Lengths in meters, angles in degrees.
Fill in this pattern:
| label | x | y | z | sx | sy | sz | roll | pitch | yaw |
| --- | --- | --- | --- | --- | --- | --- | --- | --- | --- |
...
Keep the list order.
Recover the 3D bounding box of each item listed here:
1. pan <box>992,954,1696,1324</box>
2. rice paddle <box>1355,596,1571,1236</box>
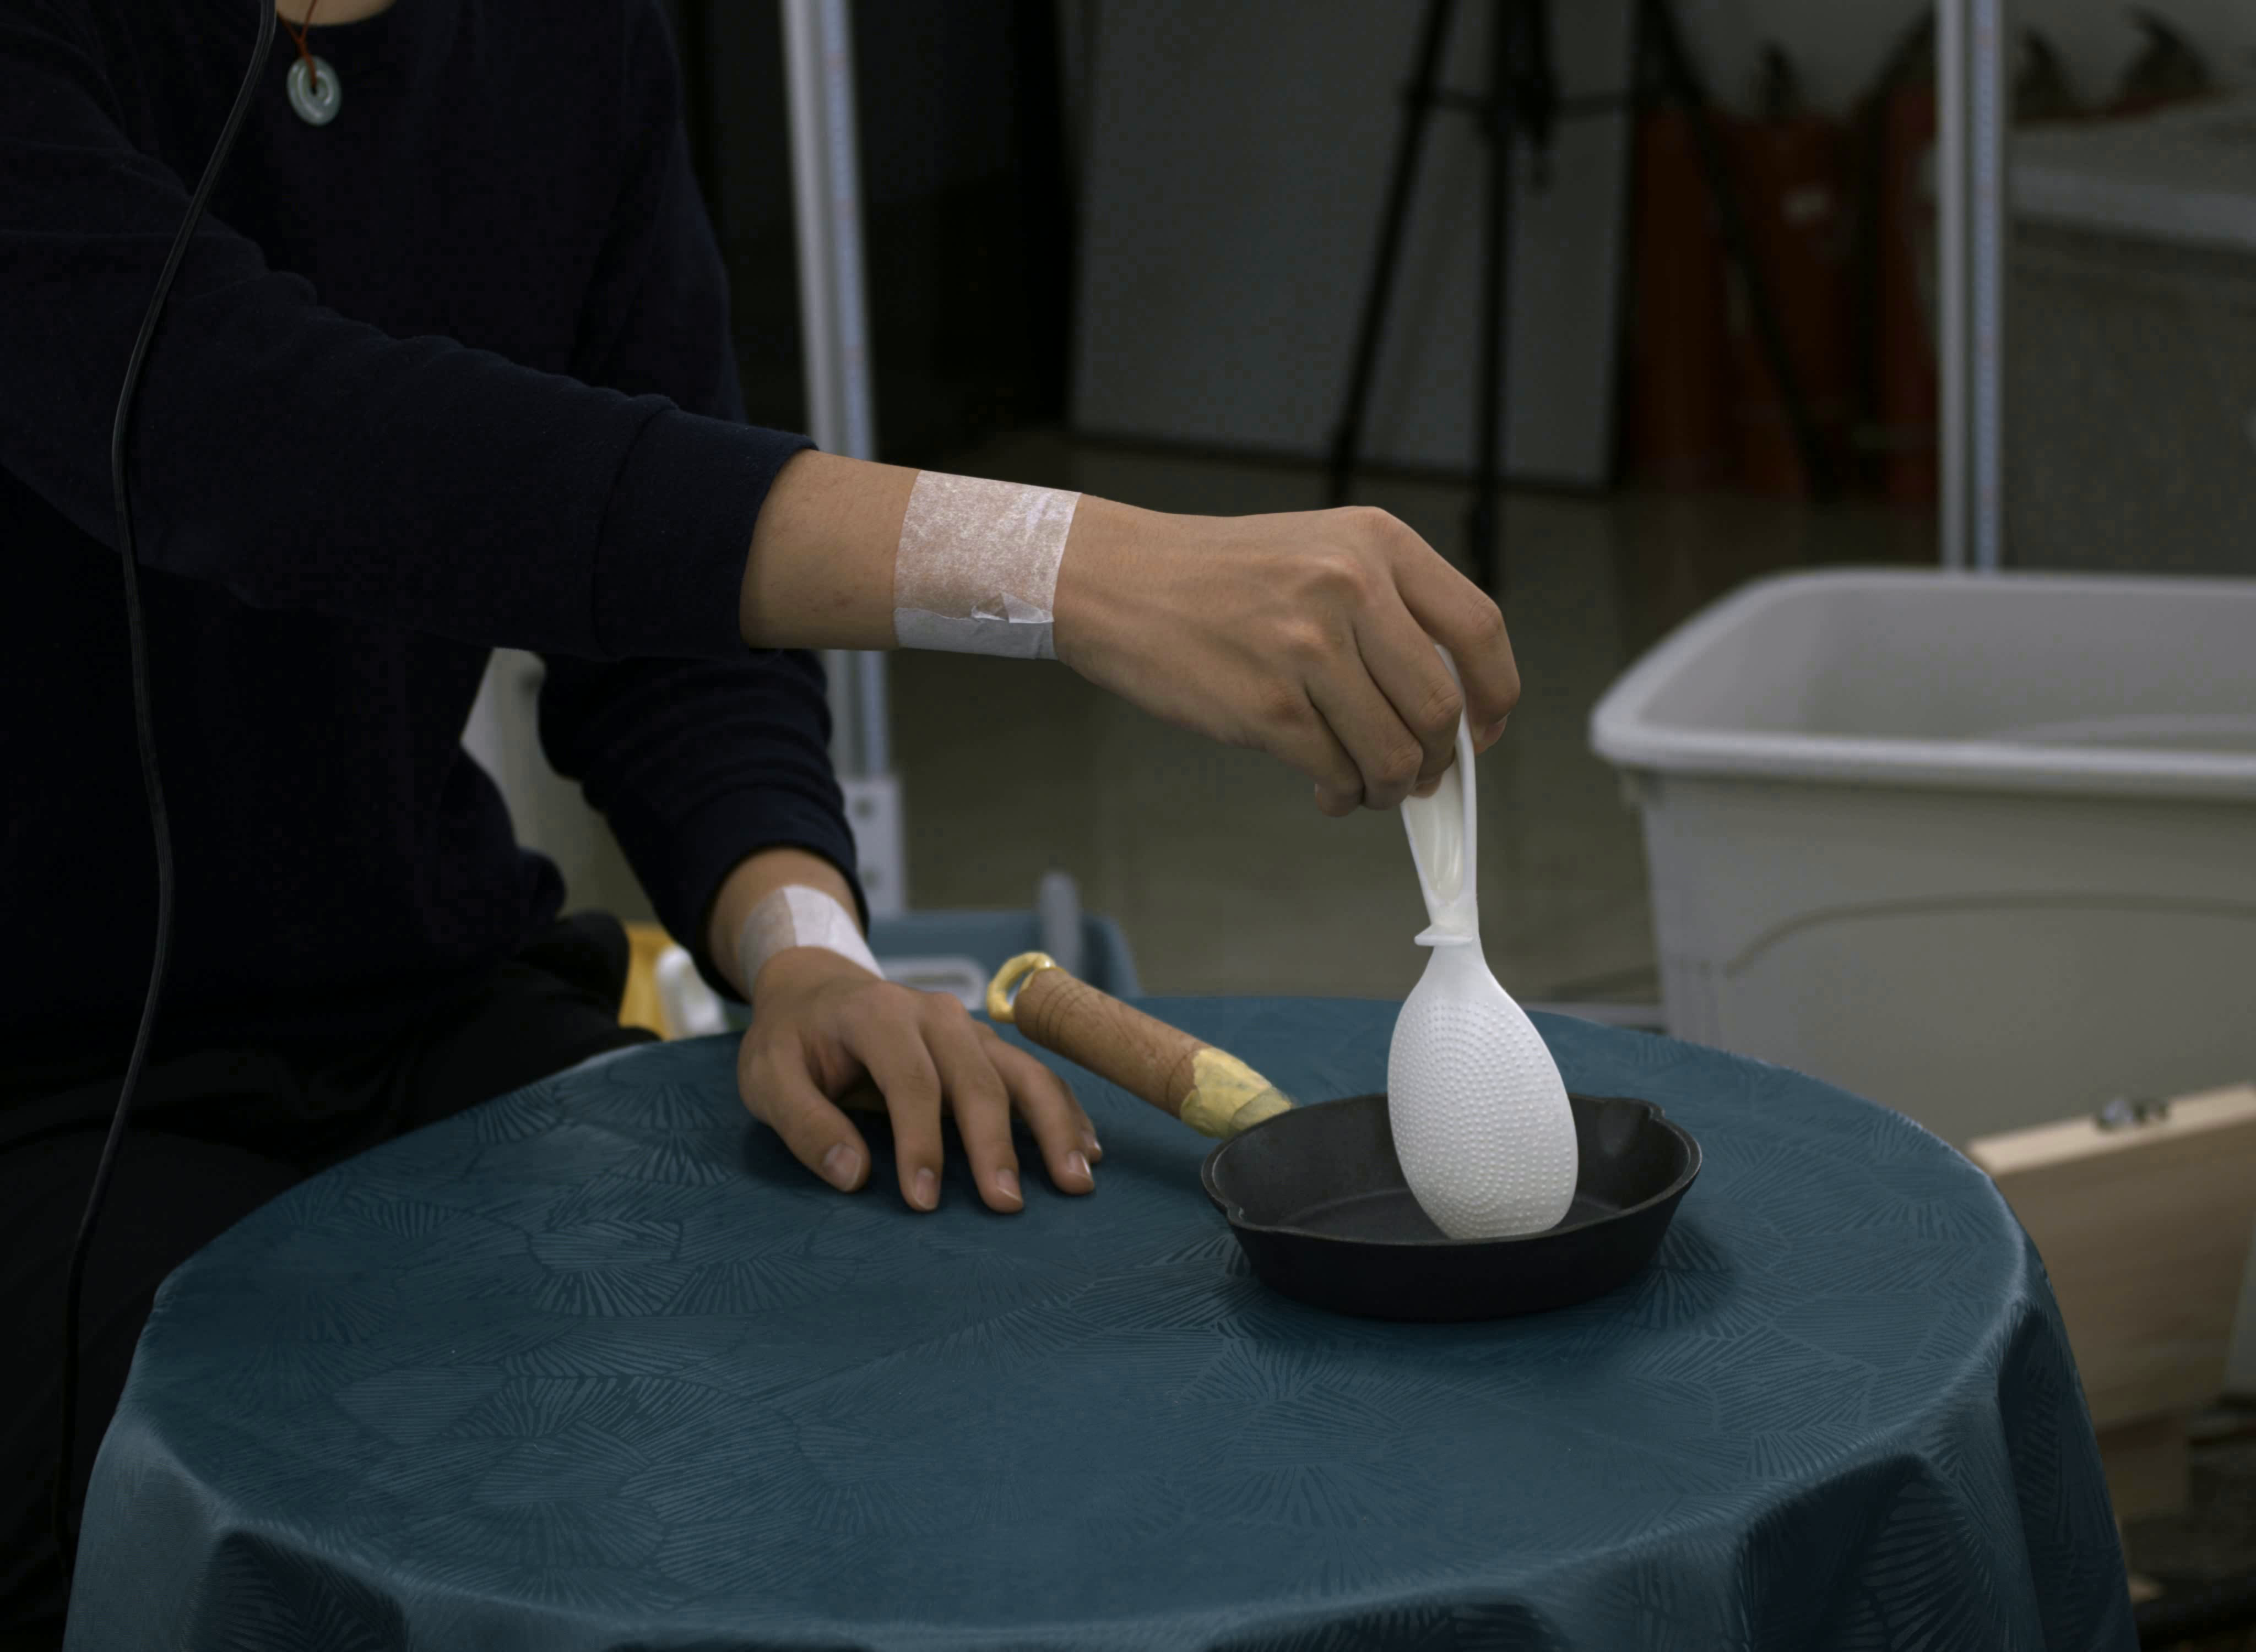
| label | x | y | z | sx | sy | sz | roll | pitch | yaw |
| --- | --- | --- | --- | --- | --- | --- | --- | --- | --- |
| pan | 0.053 | 0.097 | 1.747 | 0.165 | 0.050 | 0.328 | -13 | 18 | -32 |
| rice paddle | 0.099 | 0.033 | 1.648 | 0.069 | 0.207 | 0.029 | 3 | 19 | 39 |
